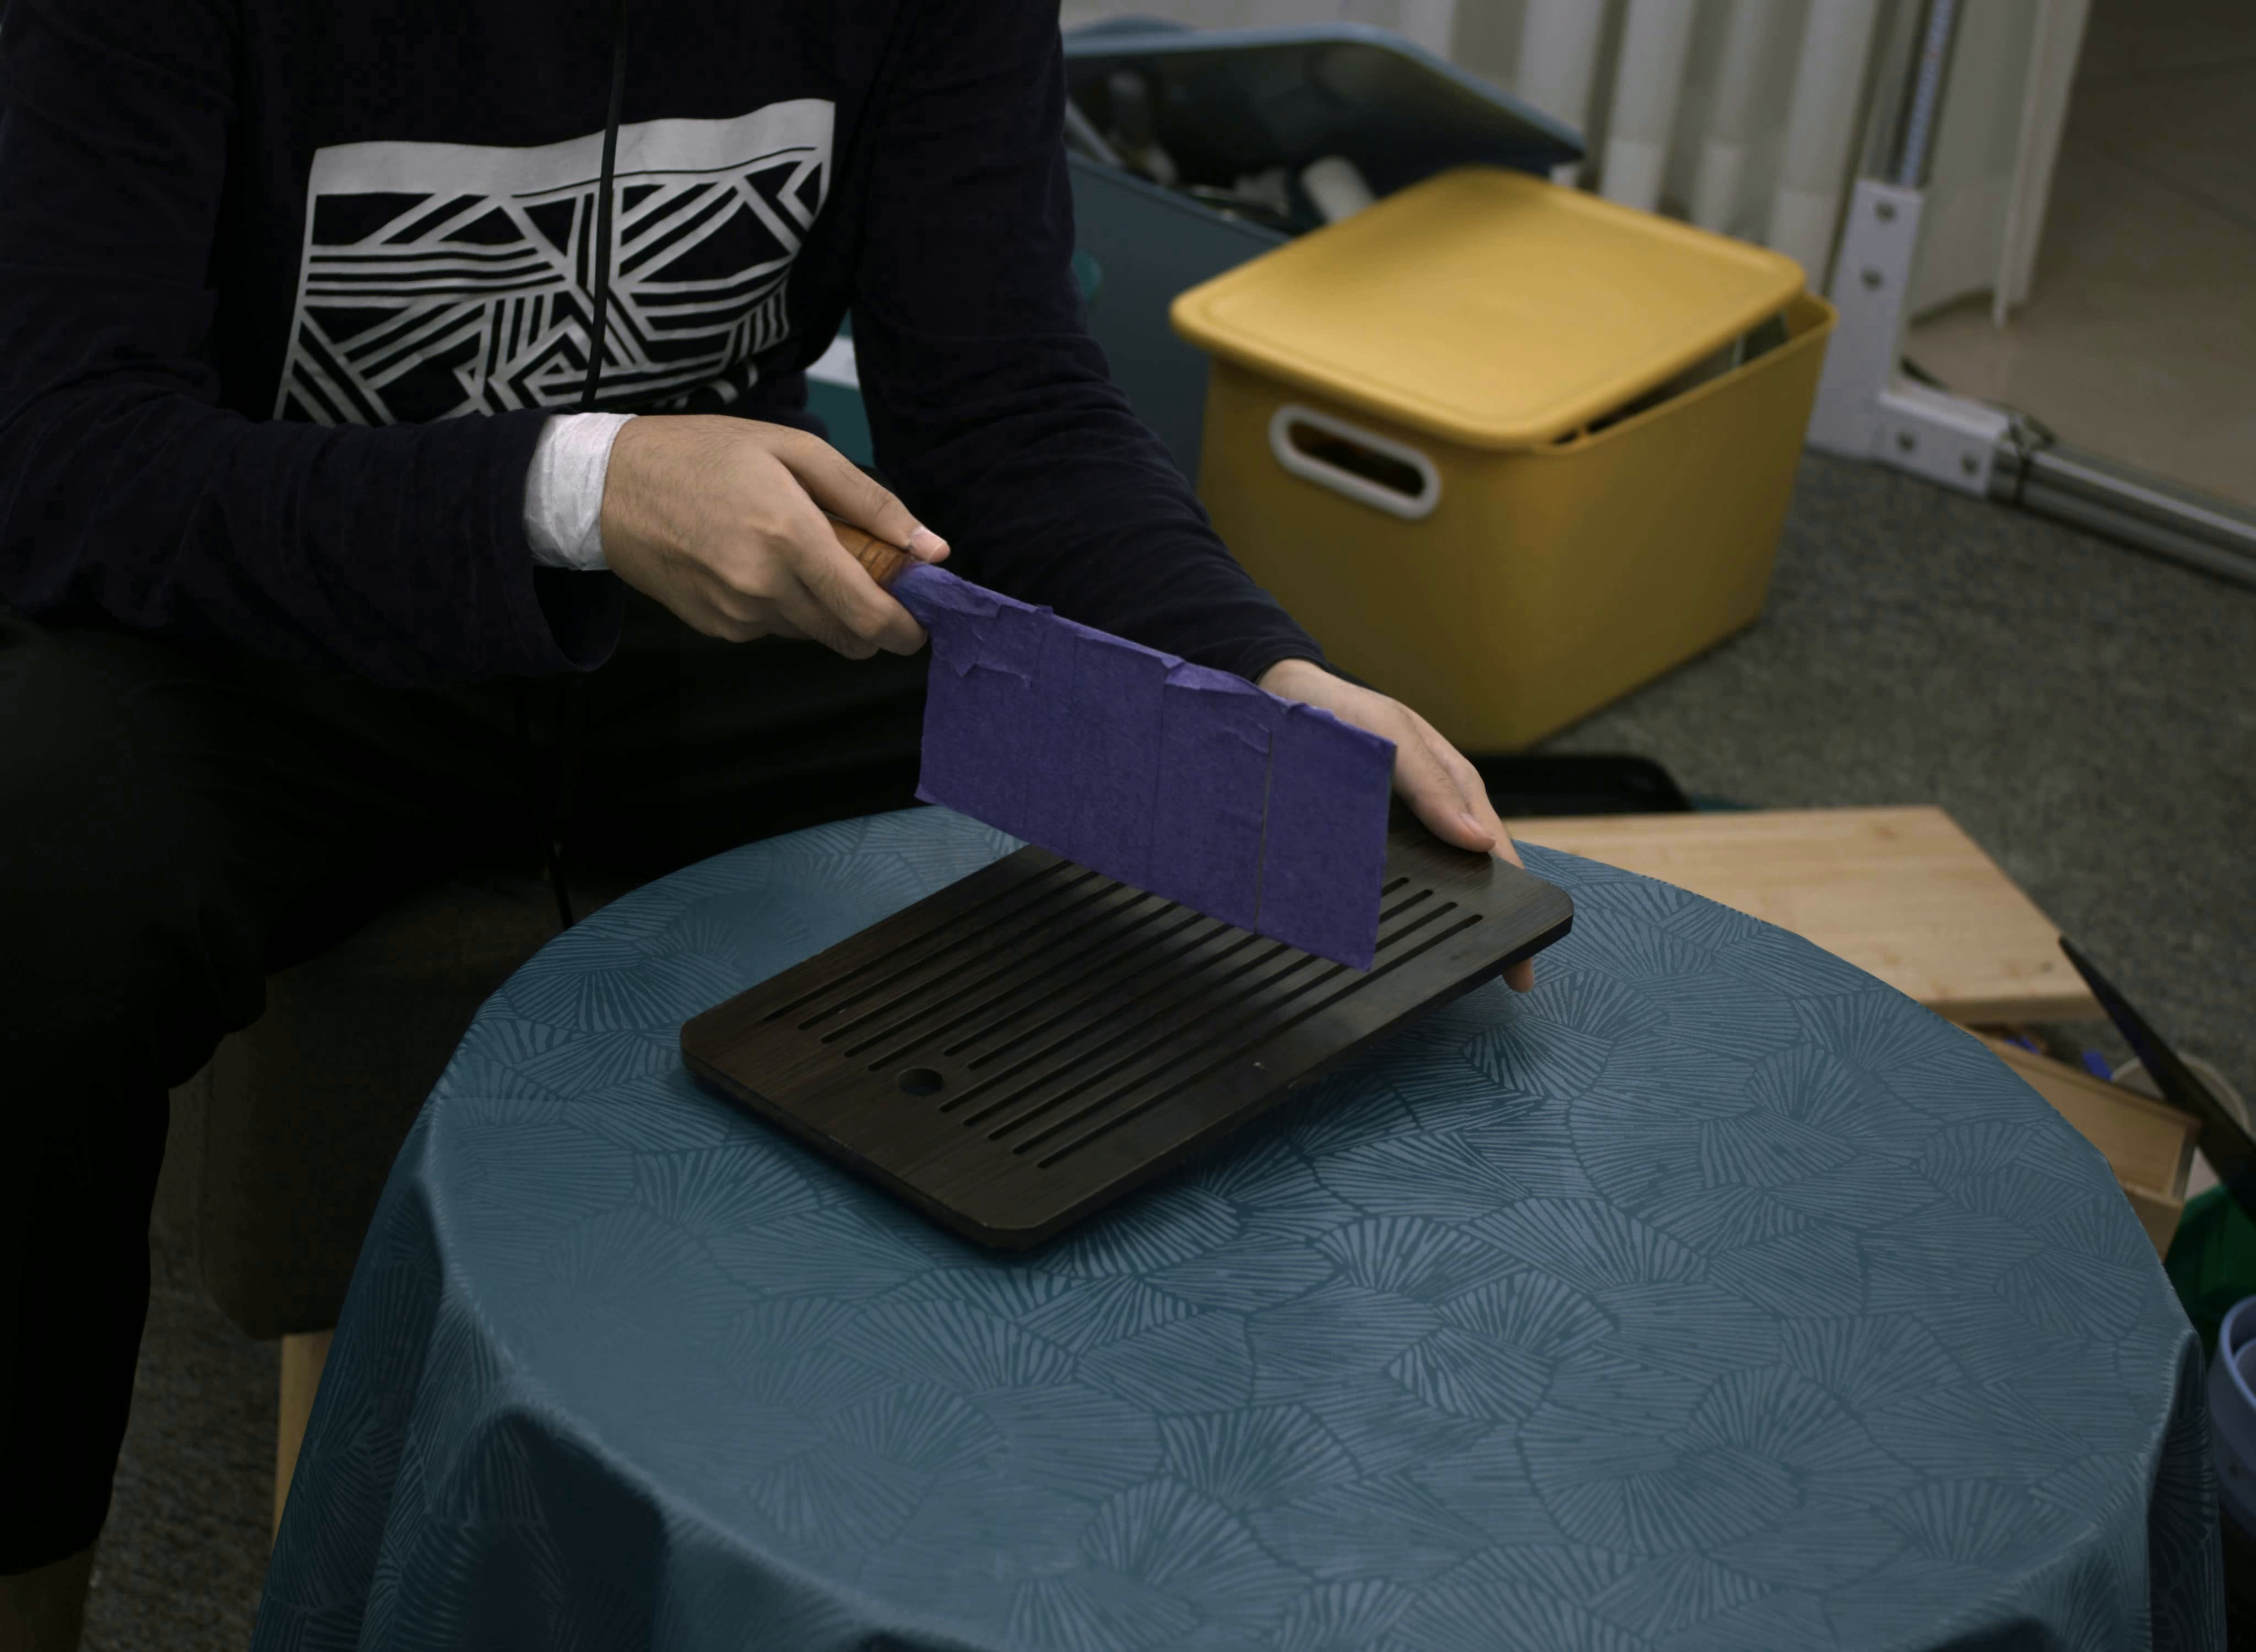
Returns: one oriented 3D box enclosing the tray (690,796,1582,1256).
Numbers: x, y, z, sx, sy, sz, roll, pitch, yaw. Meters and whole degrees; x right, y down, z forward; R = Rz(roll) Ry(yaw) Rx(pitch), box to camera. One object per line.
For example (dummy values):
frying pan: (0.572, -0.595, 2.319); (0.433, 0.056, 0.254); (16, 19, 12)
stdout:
tray: (0.006, 0.058, 1.887); (0.171, 0.018, 0.305); (27, 39, 35)

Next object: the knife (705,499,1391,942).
knife: (-0.035, -0.037, 1.925); (0.317, 0.103, 0.032); (21, 26, 36)
